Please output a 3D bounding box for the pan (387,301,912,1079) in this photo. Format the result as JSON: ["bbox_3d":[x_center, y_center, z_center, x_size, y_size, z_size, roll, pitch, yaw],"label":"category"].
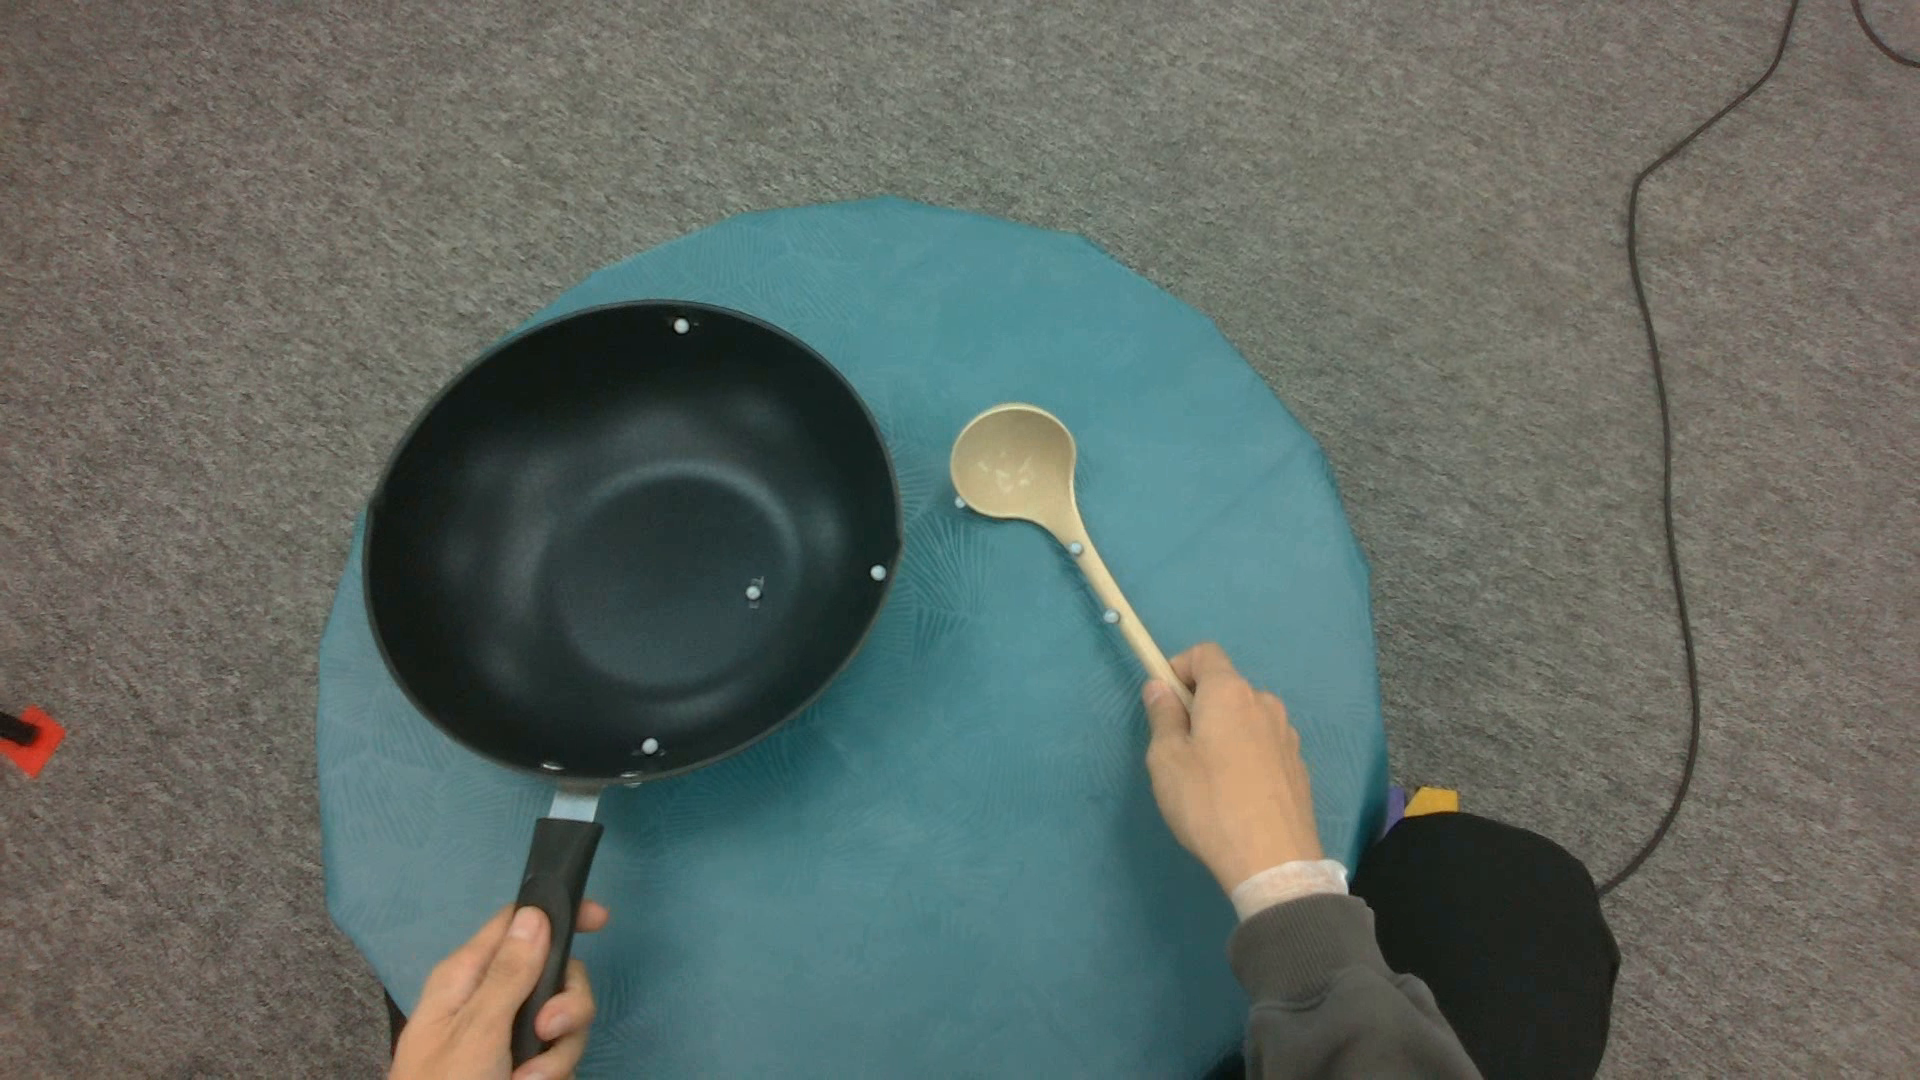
[{"bbox_3d":[-0.178,0.090,0.739,0.288,0.086,0.465,5,68,5],"label":"pan"}]

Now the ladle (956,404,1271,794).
[{"bbox_3d":[0.082,0.028,0.747,0.072,0.073,0.255,-39,62,8],"label":"ladle"}]
